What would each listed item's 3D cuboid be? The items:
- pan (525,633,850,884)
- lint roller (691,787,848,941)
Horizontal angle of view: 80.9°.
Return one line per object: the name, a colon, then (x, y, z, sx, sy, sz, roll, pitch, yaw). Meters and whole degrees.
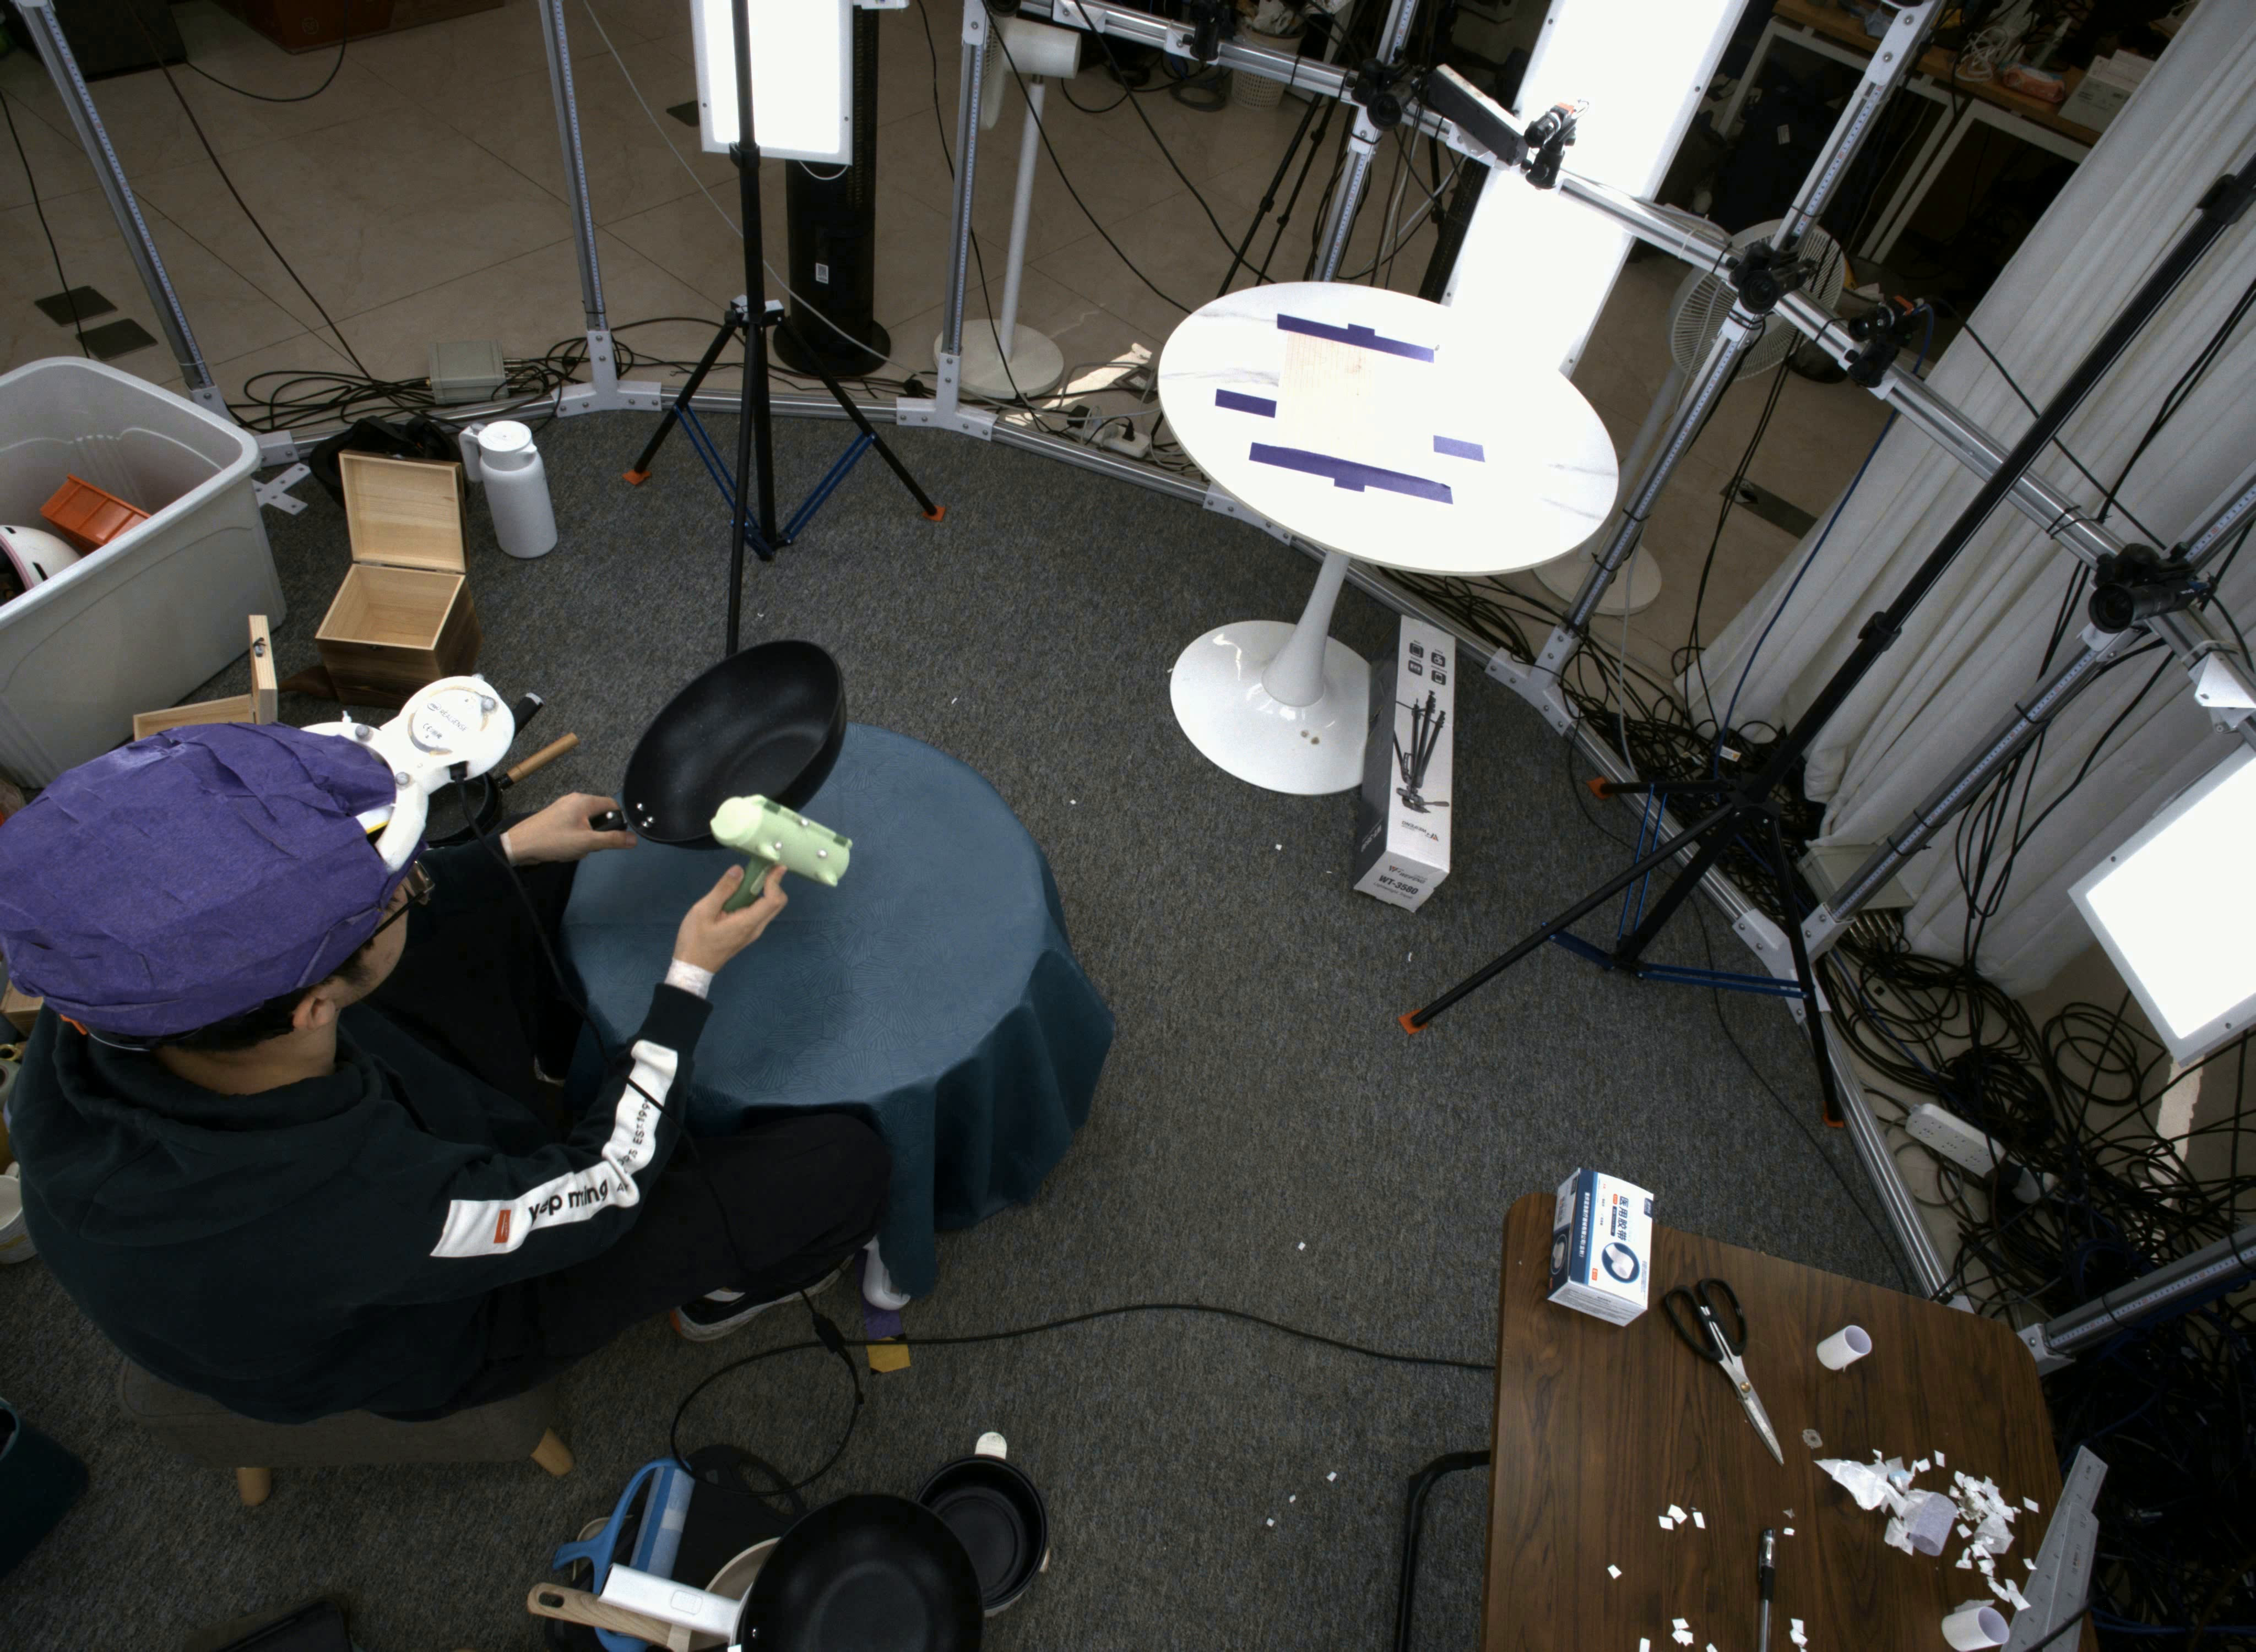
pan: (-0.523, -0.047, 1.535, 0.475, 0.116, 0.299, -35, 45, -2)
lint roller: (-0.407, 0.060, 1.423, 0.080, 0.204, 0.184, 32, 87, 24)
